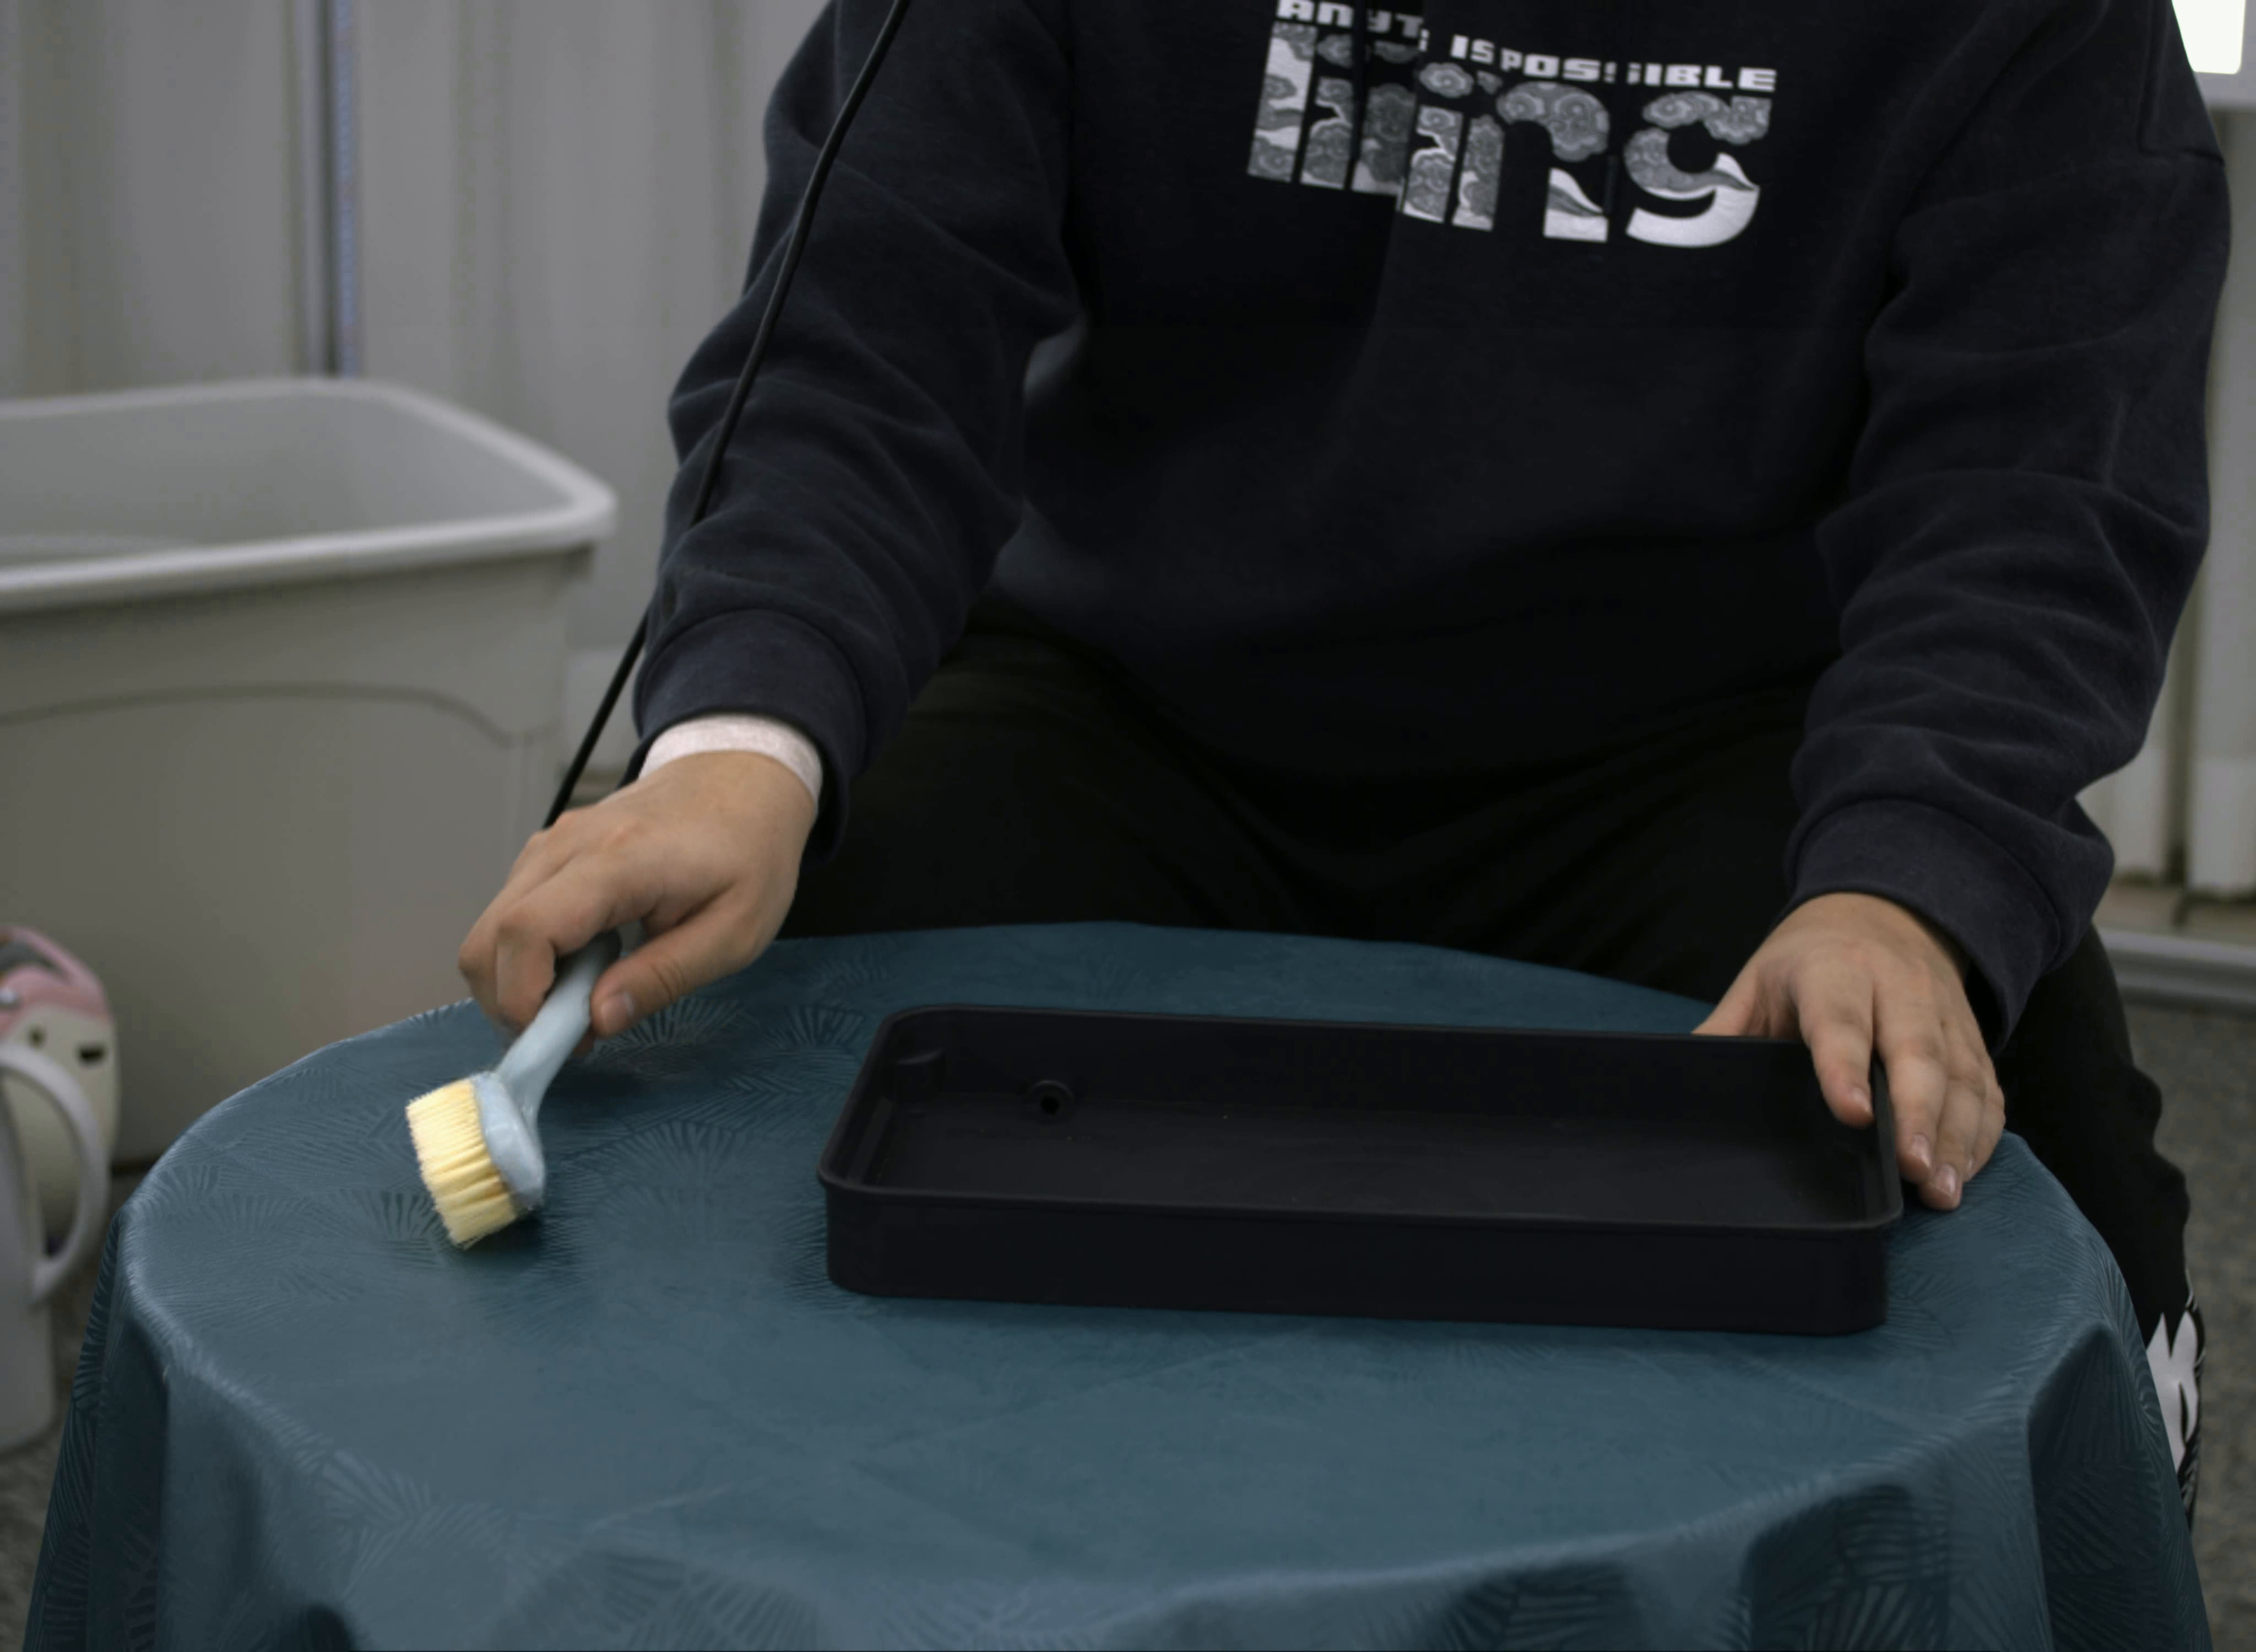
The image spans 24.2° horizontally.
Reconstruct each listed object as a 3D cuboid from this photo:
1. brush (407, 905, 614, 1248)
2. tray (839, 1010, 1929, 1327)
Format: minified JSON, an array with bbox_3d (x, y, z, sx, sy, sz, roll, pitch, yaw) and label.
[{"bbox_3d":[-0.193,0.074,1.657,0.049,0.038,0.227,-19,20,8],"label":"brush"},{"bbox_3d":[0.078,0.102,1.601,0.316,0.037,0.183,1,15,3],"label":"tray"}]
